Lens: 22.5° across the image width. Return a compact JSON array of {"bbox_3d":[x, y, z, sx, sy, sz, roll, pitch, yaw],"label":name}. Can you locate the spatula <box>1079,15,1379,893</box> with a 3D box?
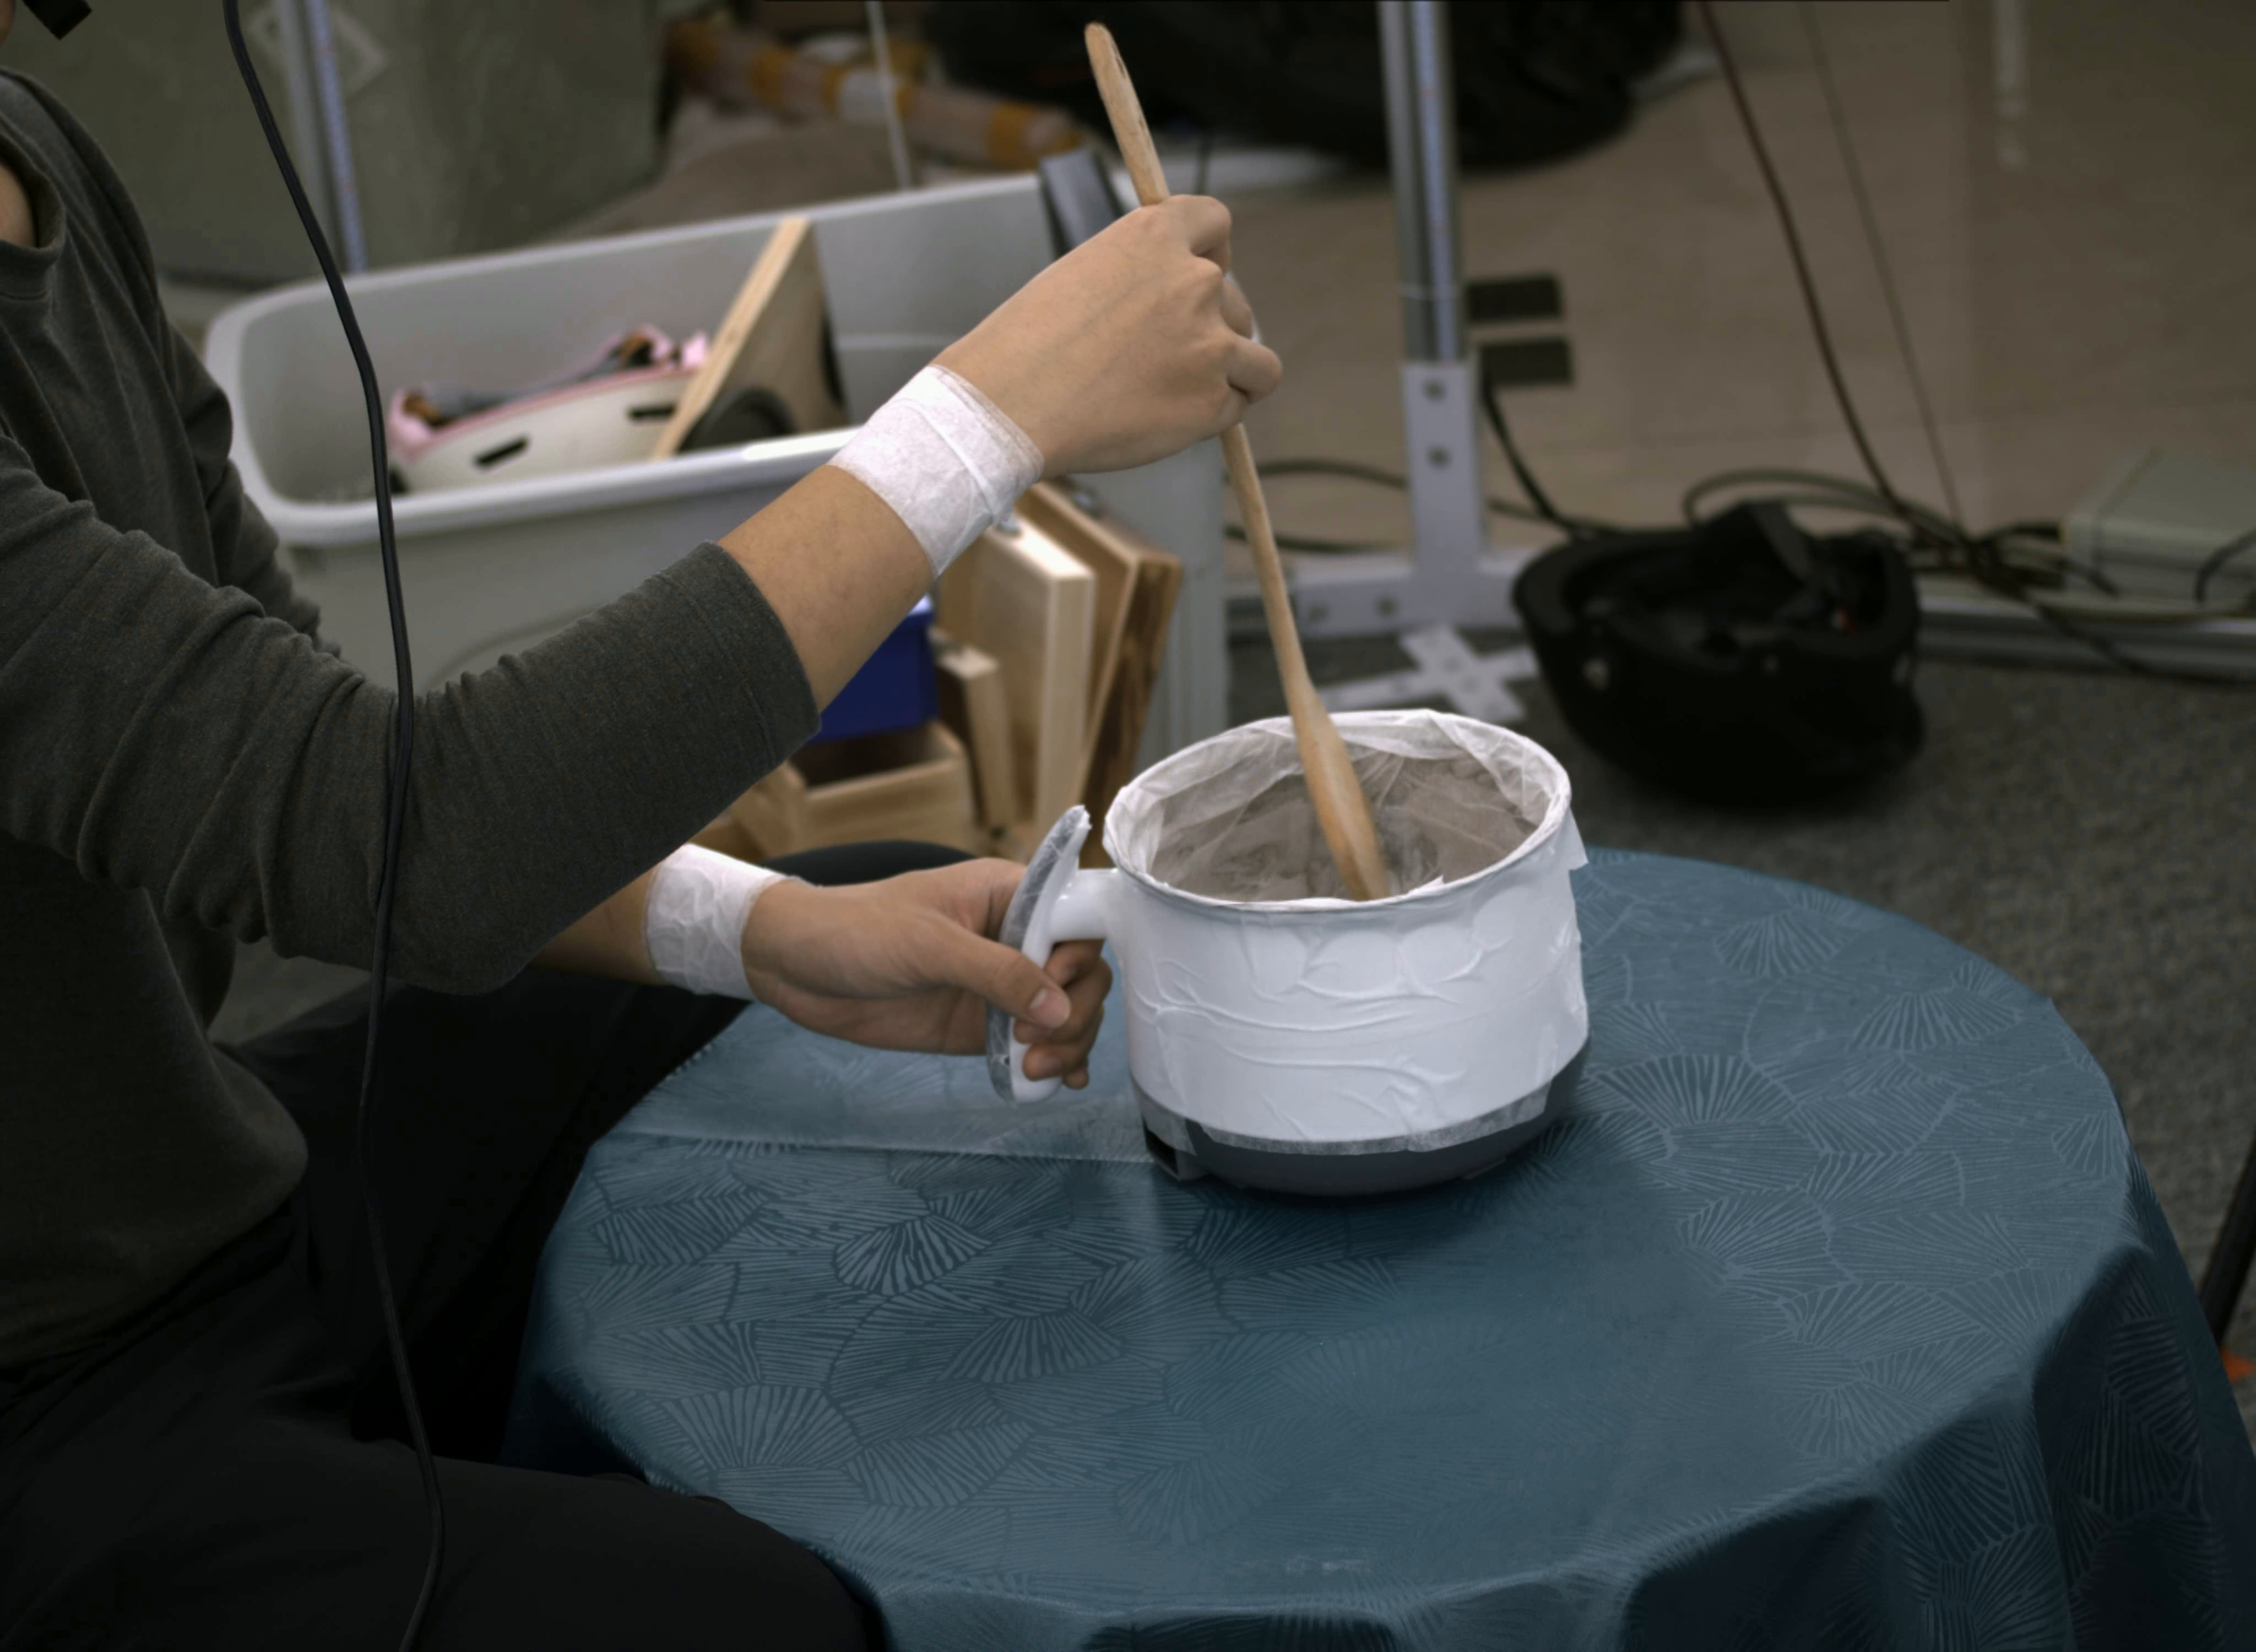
[{"bbox_3d":[0.041,-0.121,2.082,0.018,0.397,0.094,-14,32,5],"label":"spatula"}]

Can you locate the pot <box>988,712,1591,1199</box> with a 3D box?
[{"bbox_3d":[0.058,0.053,2.162,0.233,0.139,0.176,-4,26,8],"label":"pot"}]
